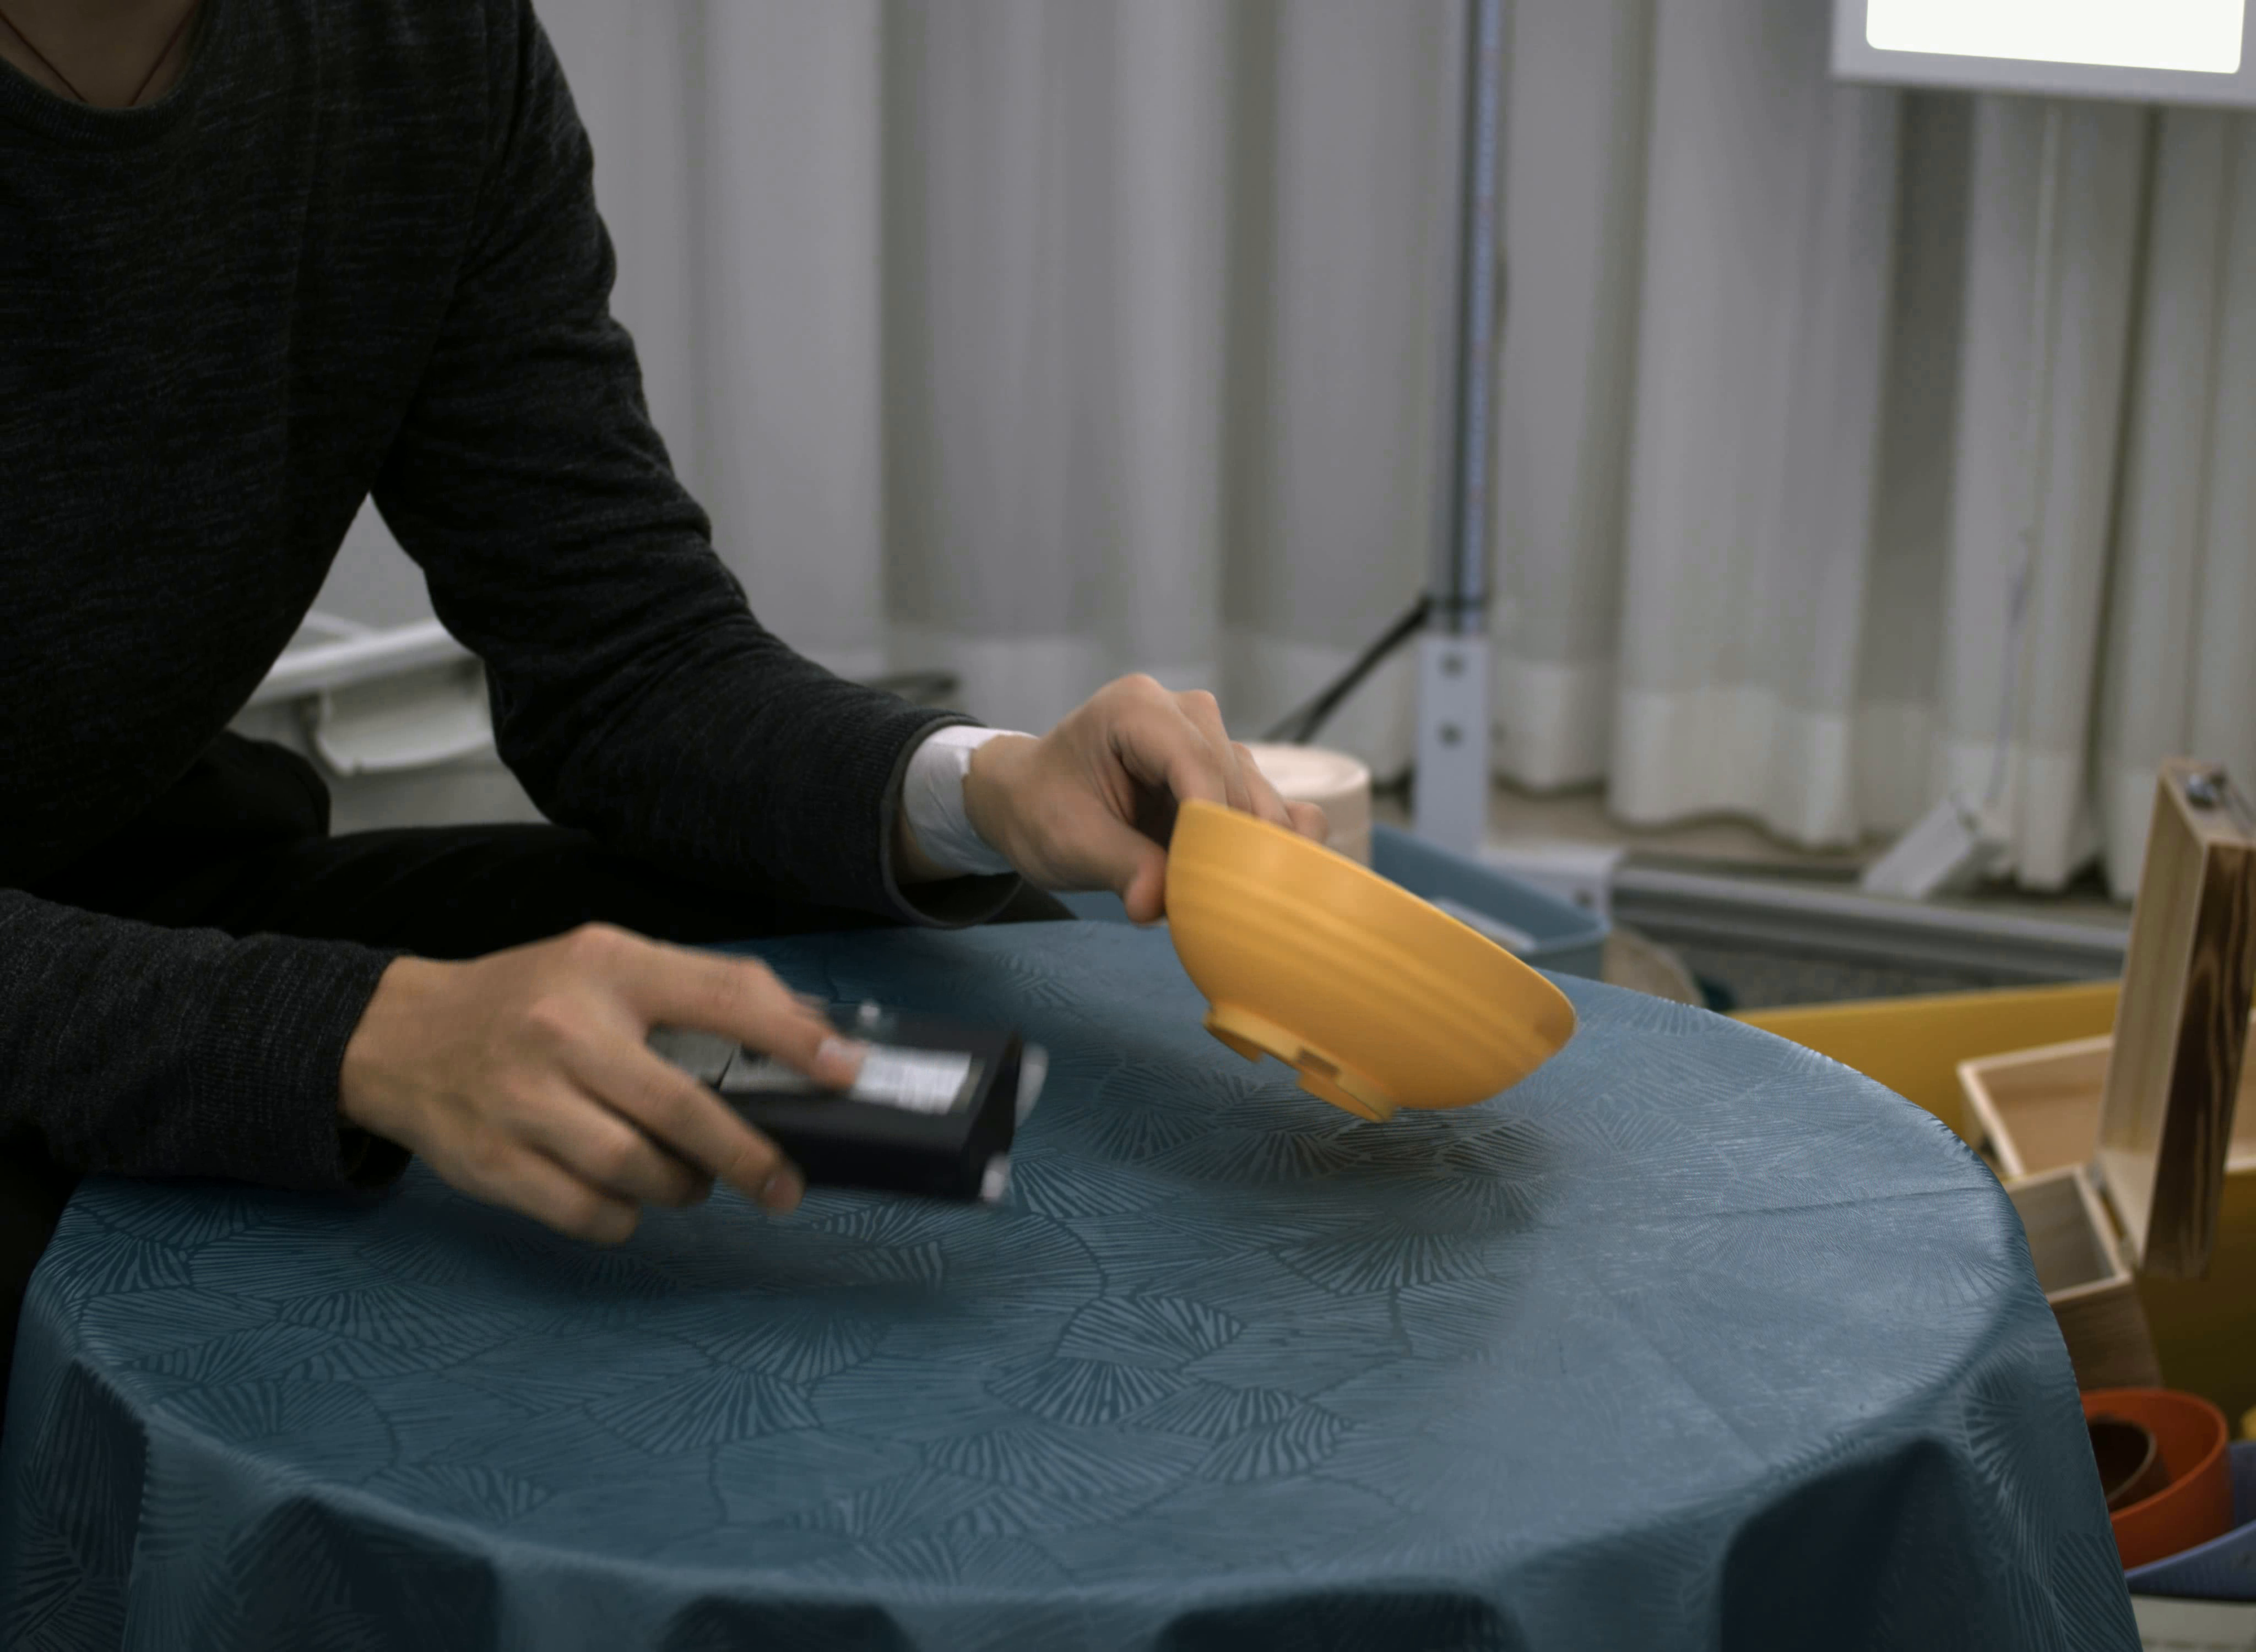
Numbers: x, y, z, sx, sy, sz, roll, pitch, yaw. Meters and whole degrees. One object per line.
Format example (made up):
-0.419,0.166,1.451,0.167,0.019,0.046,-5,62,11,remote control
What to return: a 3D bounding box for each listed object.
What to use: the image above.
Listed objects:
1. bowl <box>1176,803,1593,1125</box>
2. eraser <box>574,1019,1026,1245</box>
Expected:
0.070,0.052,1.650,0.145,0.060,0.145,27,-5,3,bowl
-0.094,0.088,1.534,0.124,0.031,0.053,7,43,20,eraser
